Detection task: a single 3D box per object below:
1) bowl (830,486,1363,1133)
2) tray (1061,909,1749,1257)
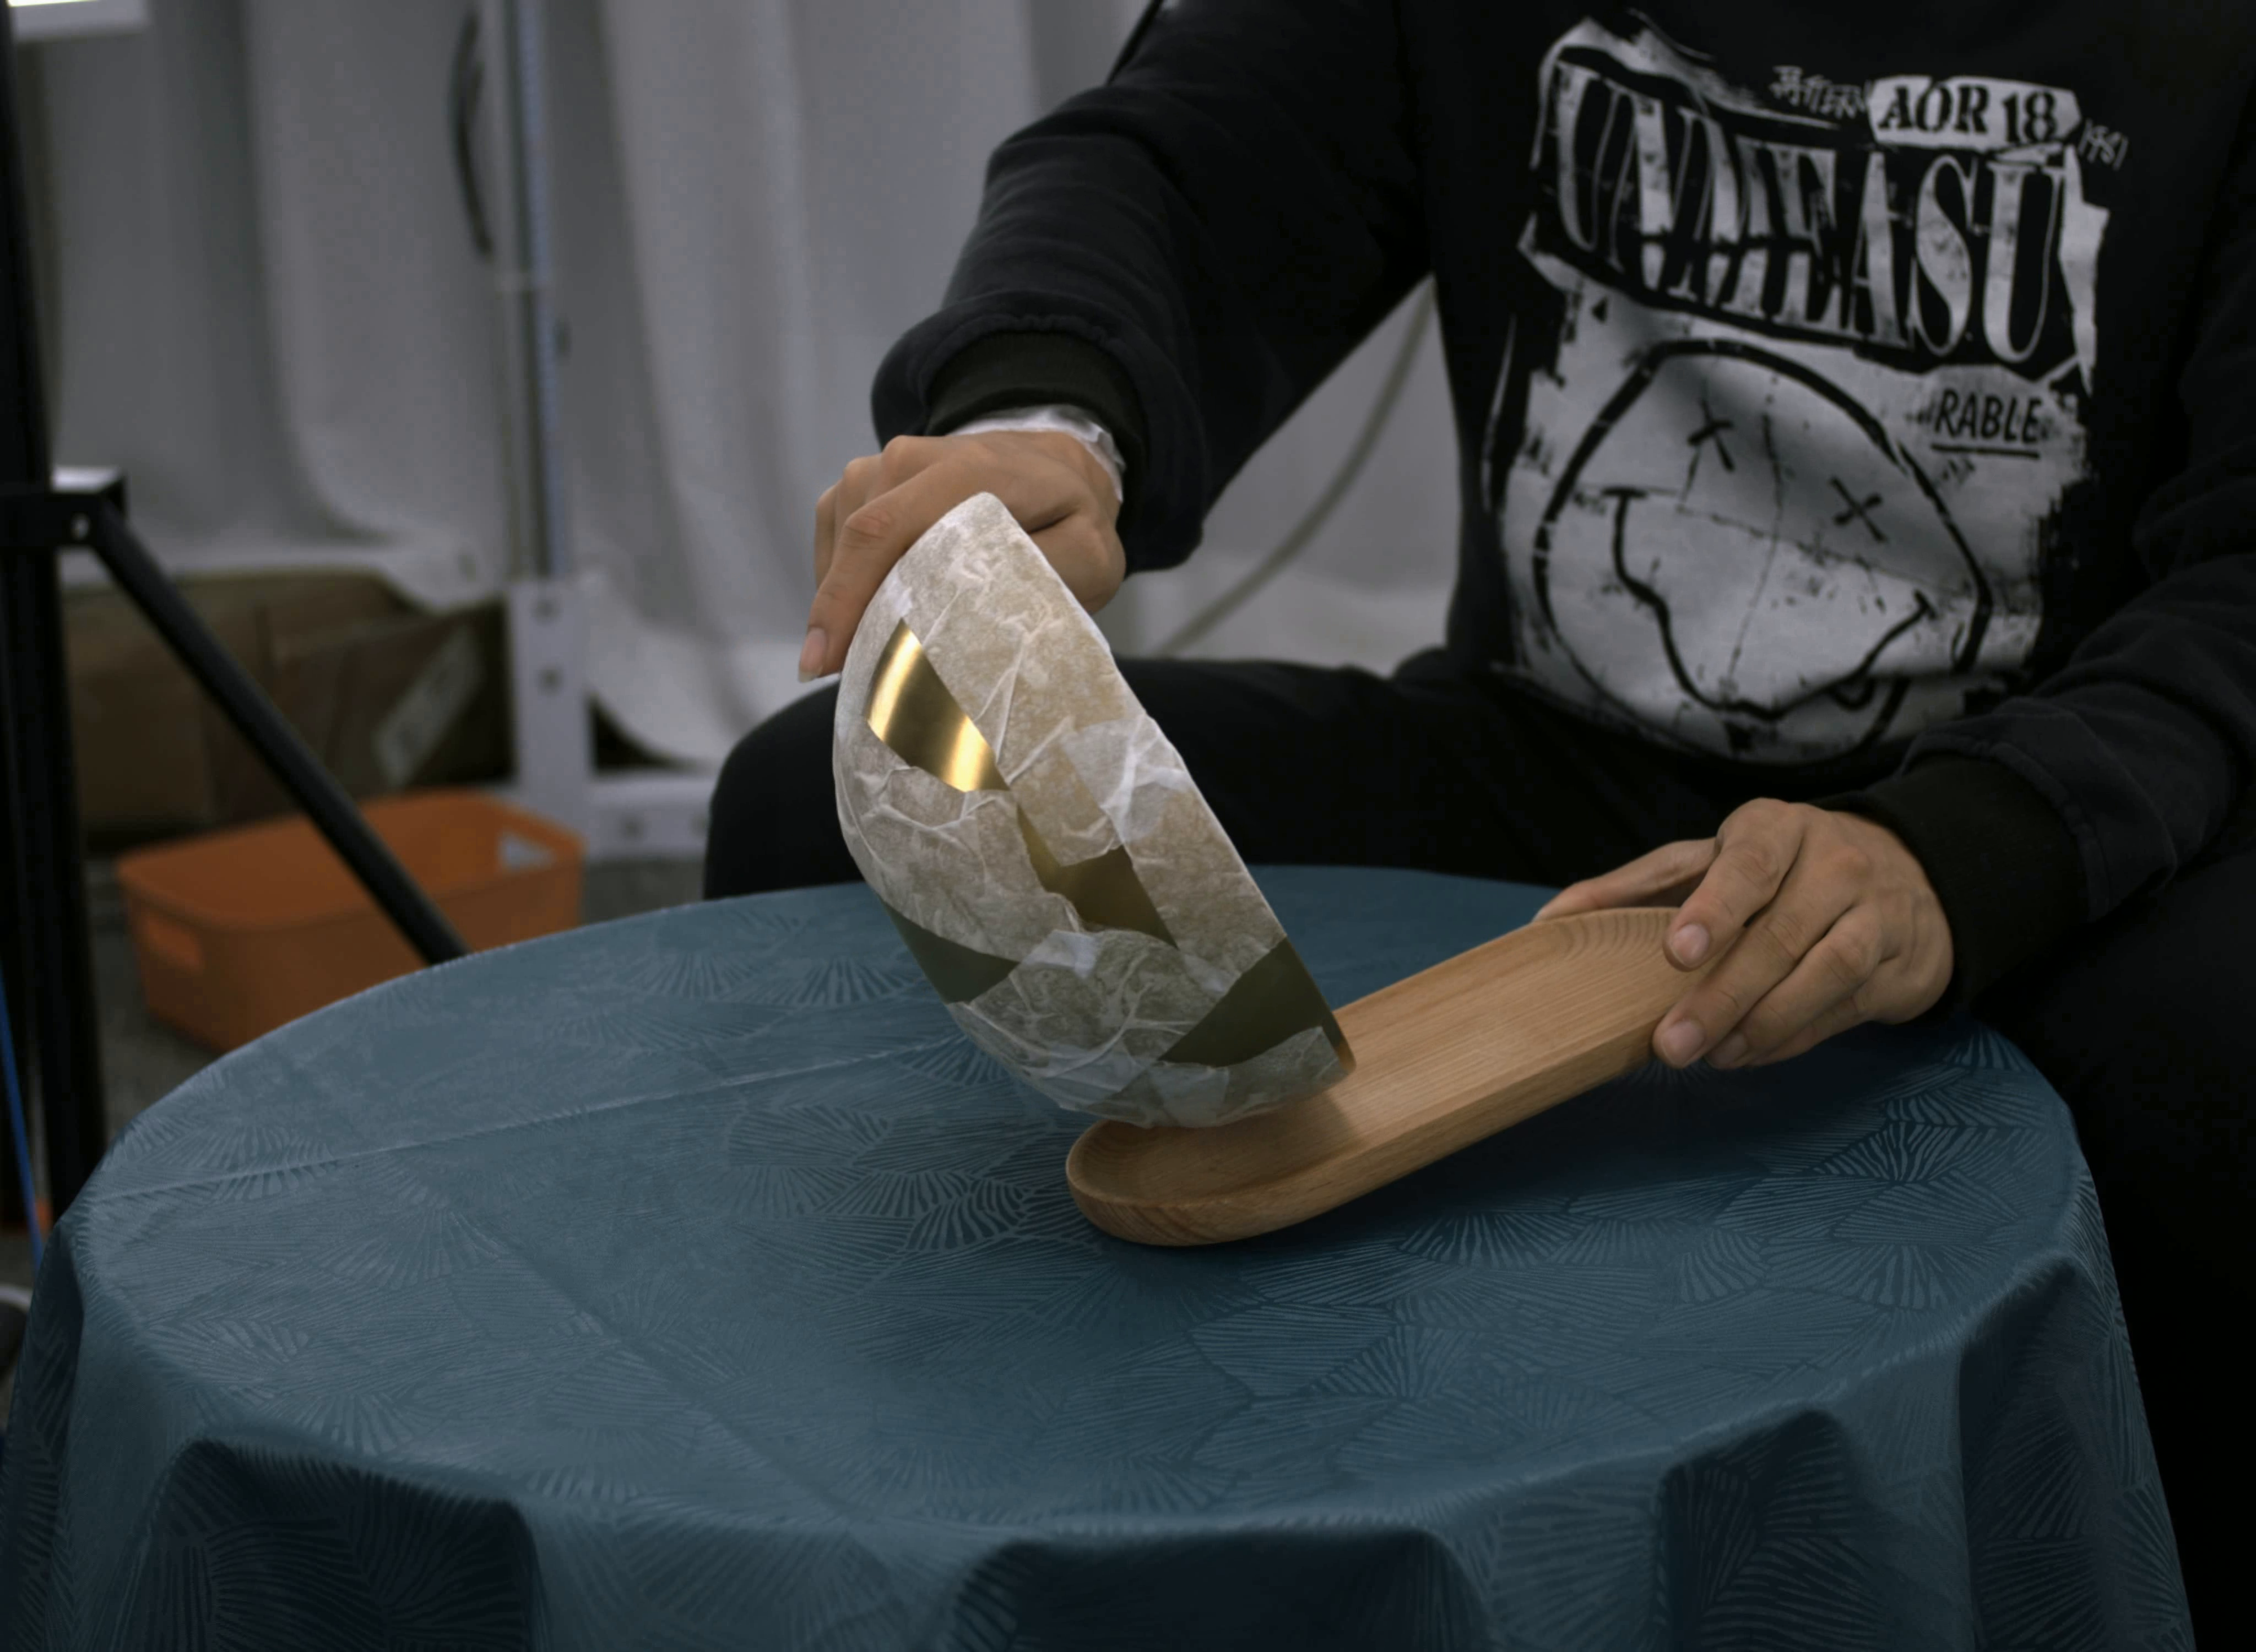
[{"bbox_3d":[-0.023,0.013,1.530,0.094,0.212,0.217,-33,19,-2],"label":"bowl"},{"bbox_3d":[0.084,0.075,1.564,0.227,0.020,0.104,-25,19,-25],"label":"tray"}]
